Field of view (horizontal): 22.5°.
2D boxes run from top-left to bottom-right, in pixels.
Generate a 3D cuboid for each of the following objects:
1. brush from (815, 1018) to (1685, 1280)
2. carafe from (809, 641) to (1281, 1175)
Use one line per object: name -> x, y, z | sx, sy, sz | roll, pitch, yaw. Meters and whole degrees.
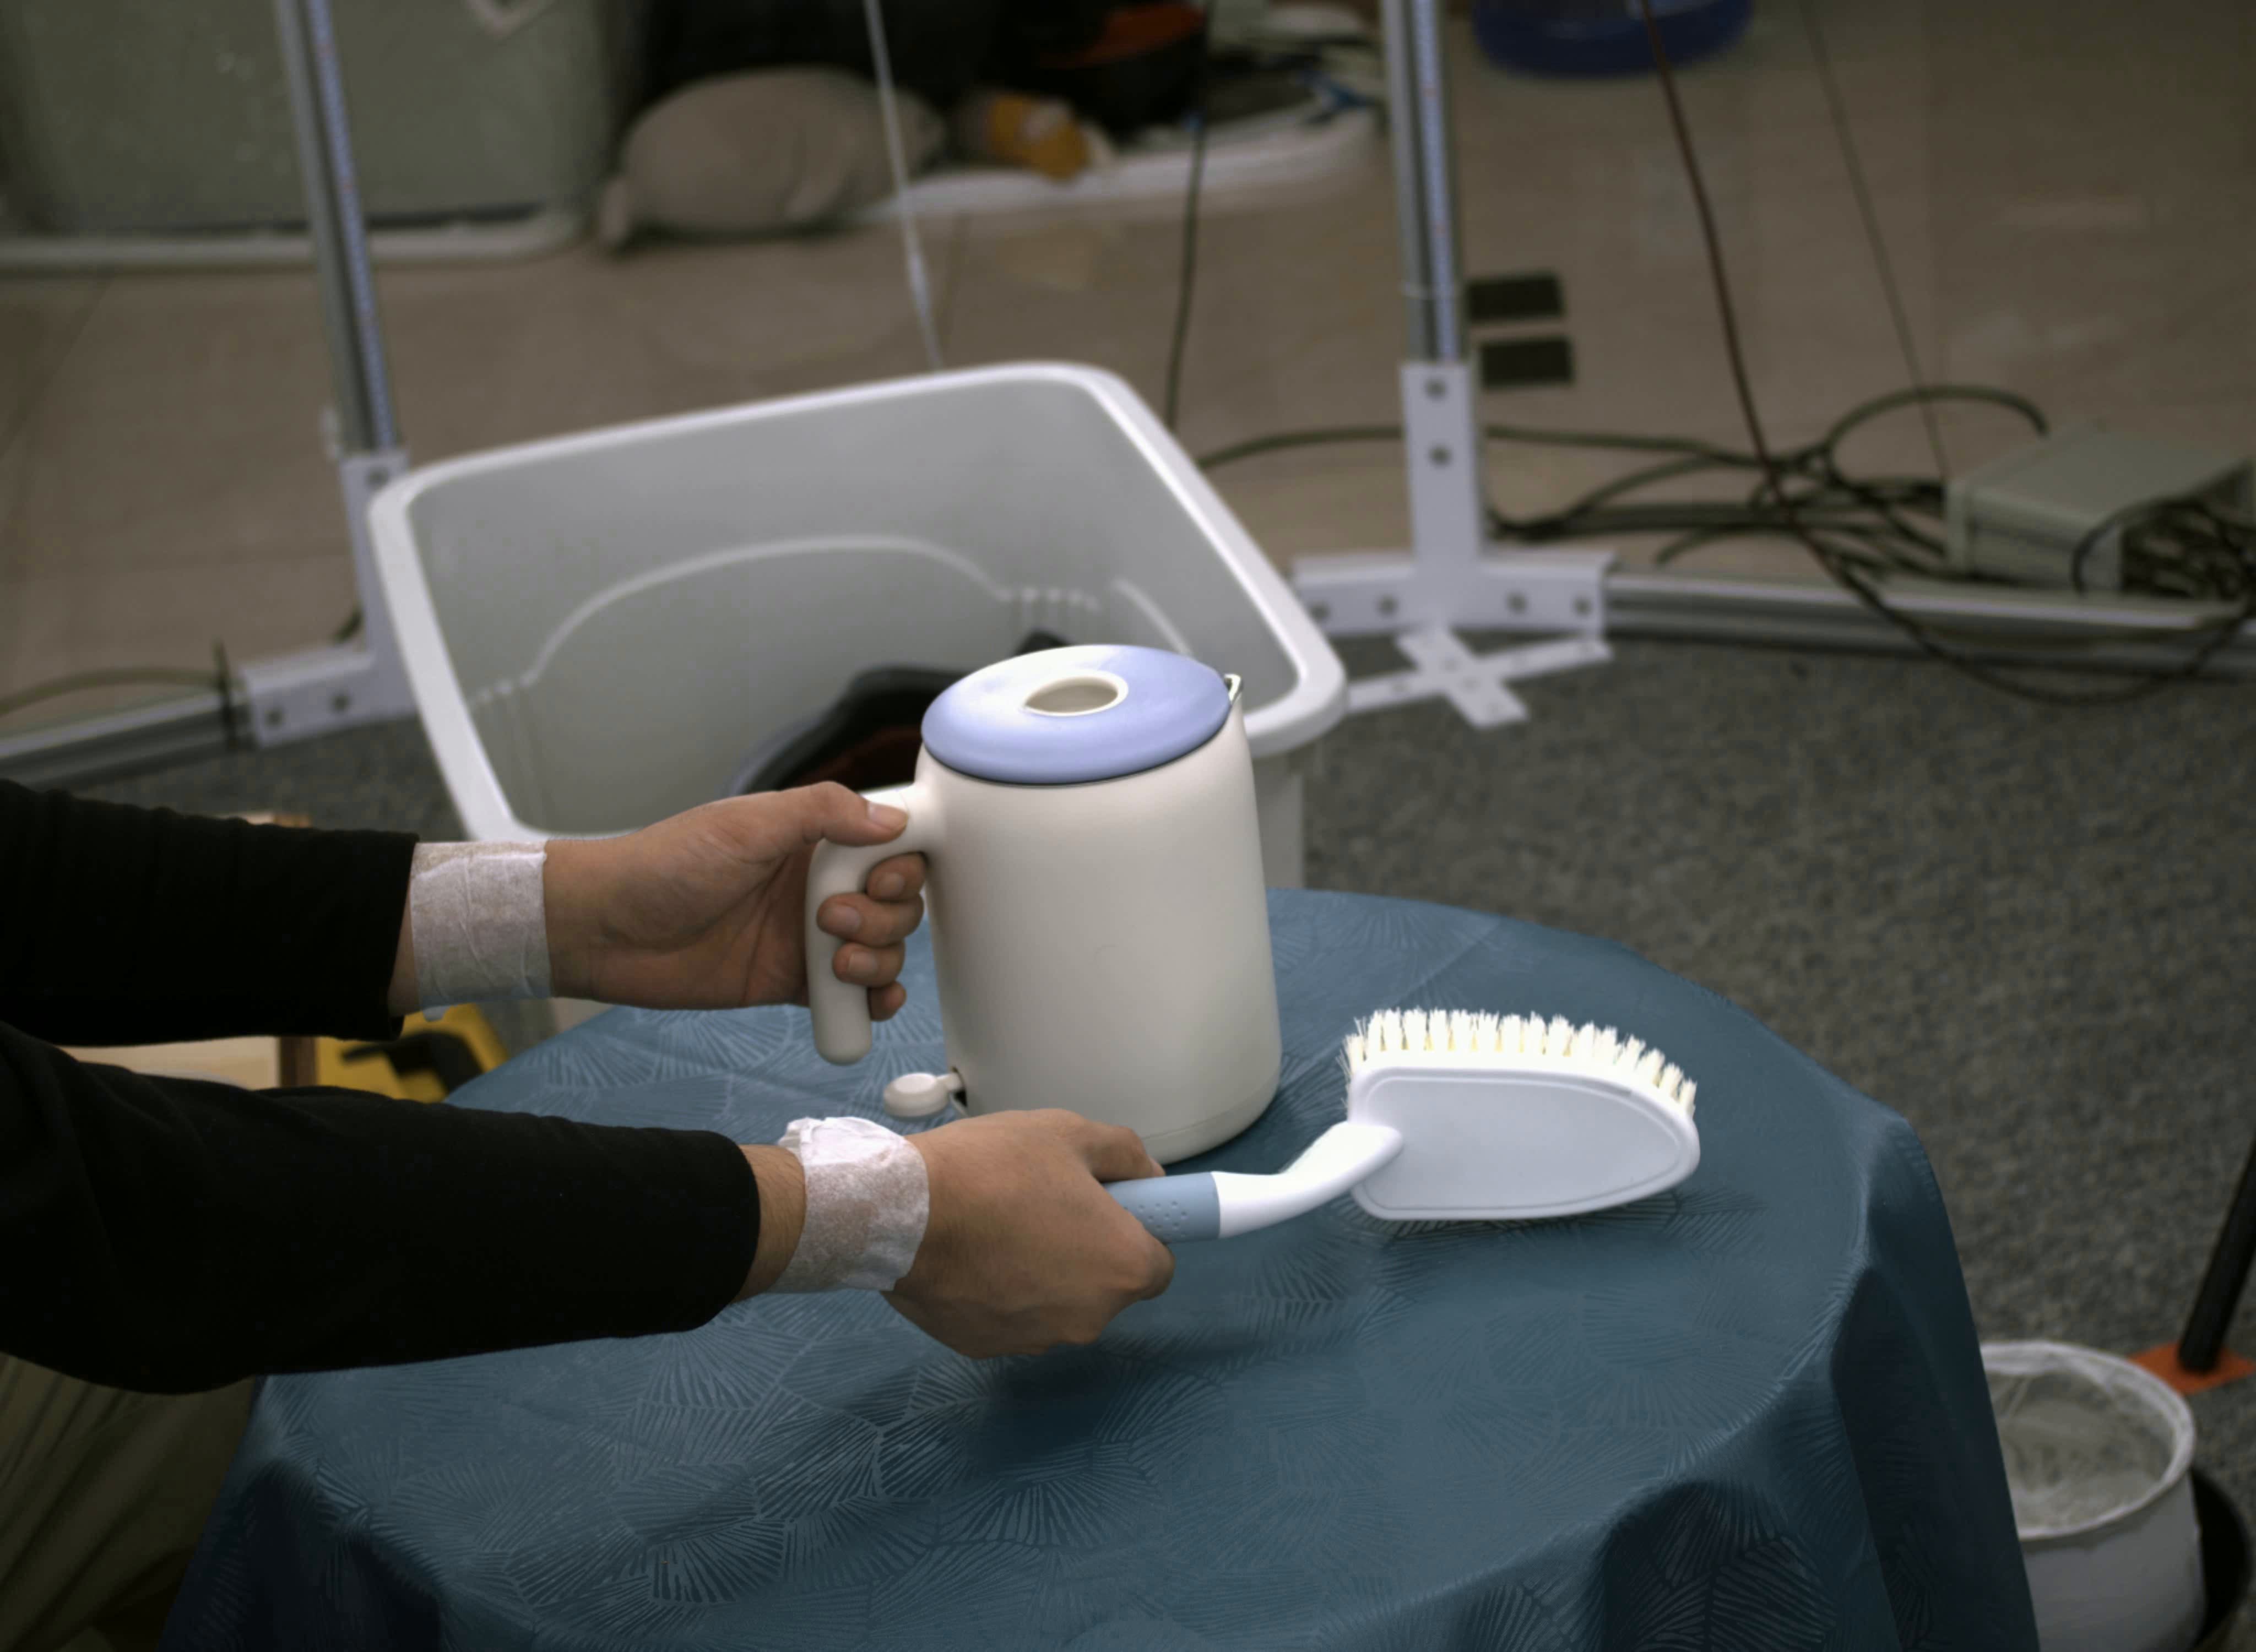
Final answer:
brush -> 0.043, 0.115, 2.064 | 0.325, 0.083, 0.085 | -5, -9, -10
carafe -> -0.034, 0.037, 2.168 | 0.190, 0.185, 0.130 | -17, 27, -19
